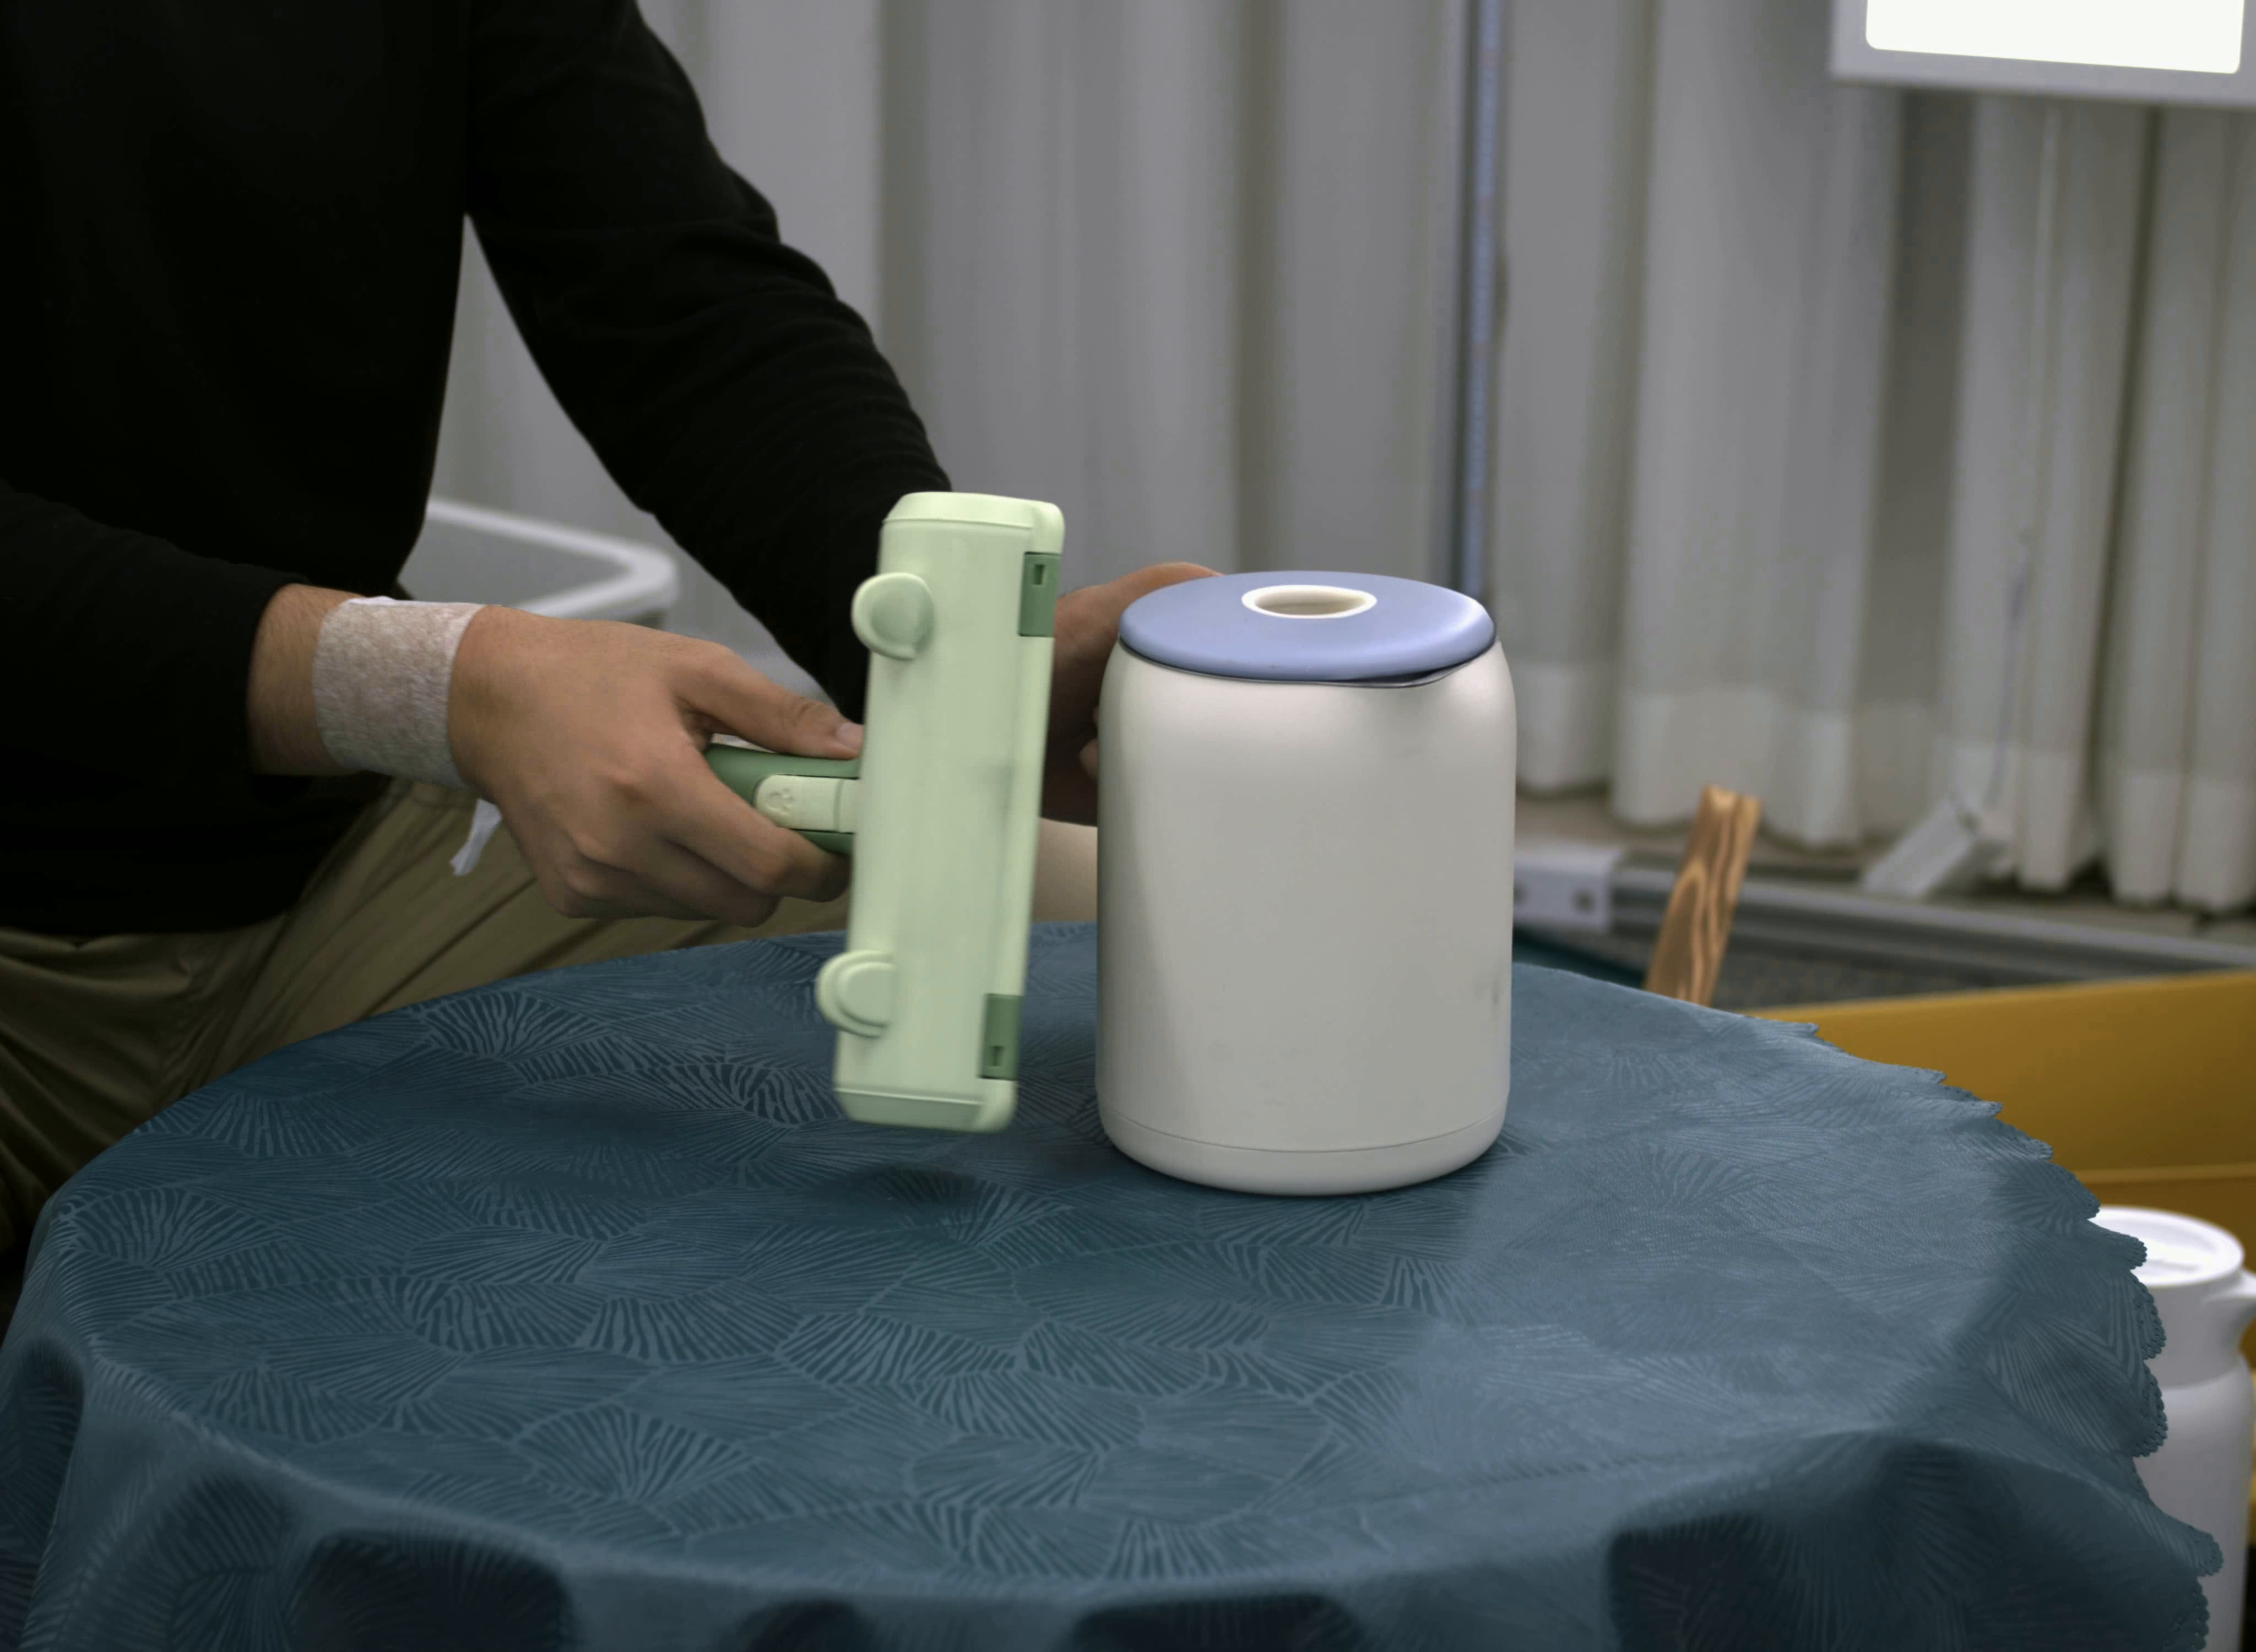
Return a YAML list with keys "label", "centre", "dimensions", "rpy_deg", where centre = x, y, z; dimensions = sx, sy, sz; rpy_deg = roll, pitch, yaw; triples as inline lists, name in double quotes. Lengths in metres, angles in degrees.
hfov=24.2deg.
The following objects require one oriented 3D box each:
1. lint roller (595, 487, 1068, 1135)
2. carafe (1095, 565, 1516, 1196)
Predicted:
- label: "lint roller"
  centre: [-0.105, -0.008, 1.640]
  dimensions: [0.181, 0.199, 0.083]
  rpy_deg: [3, -2, 26]
- label: "carafe"
  centre: [0.044, 0.010, 1.668]
  dimensions: [0.133, 0.184, 0.189]
  rpy_deg: [-7, 16, -27]
